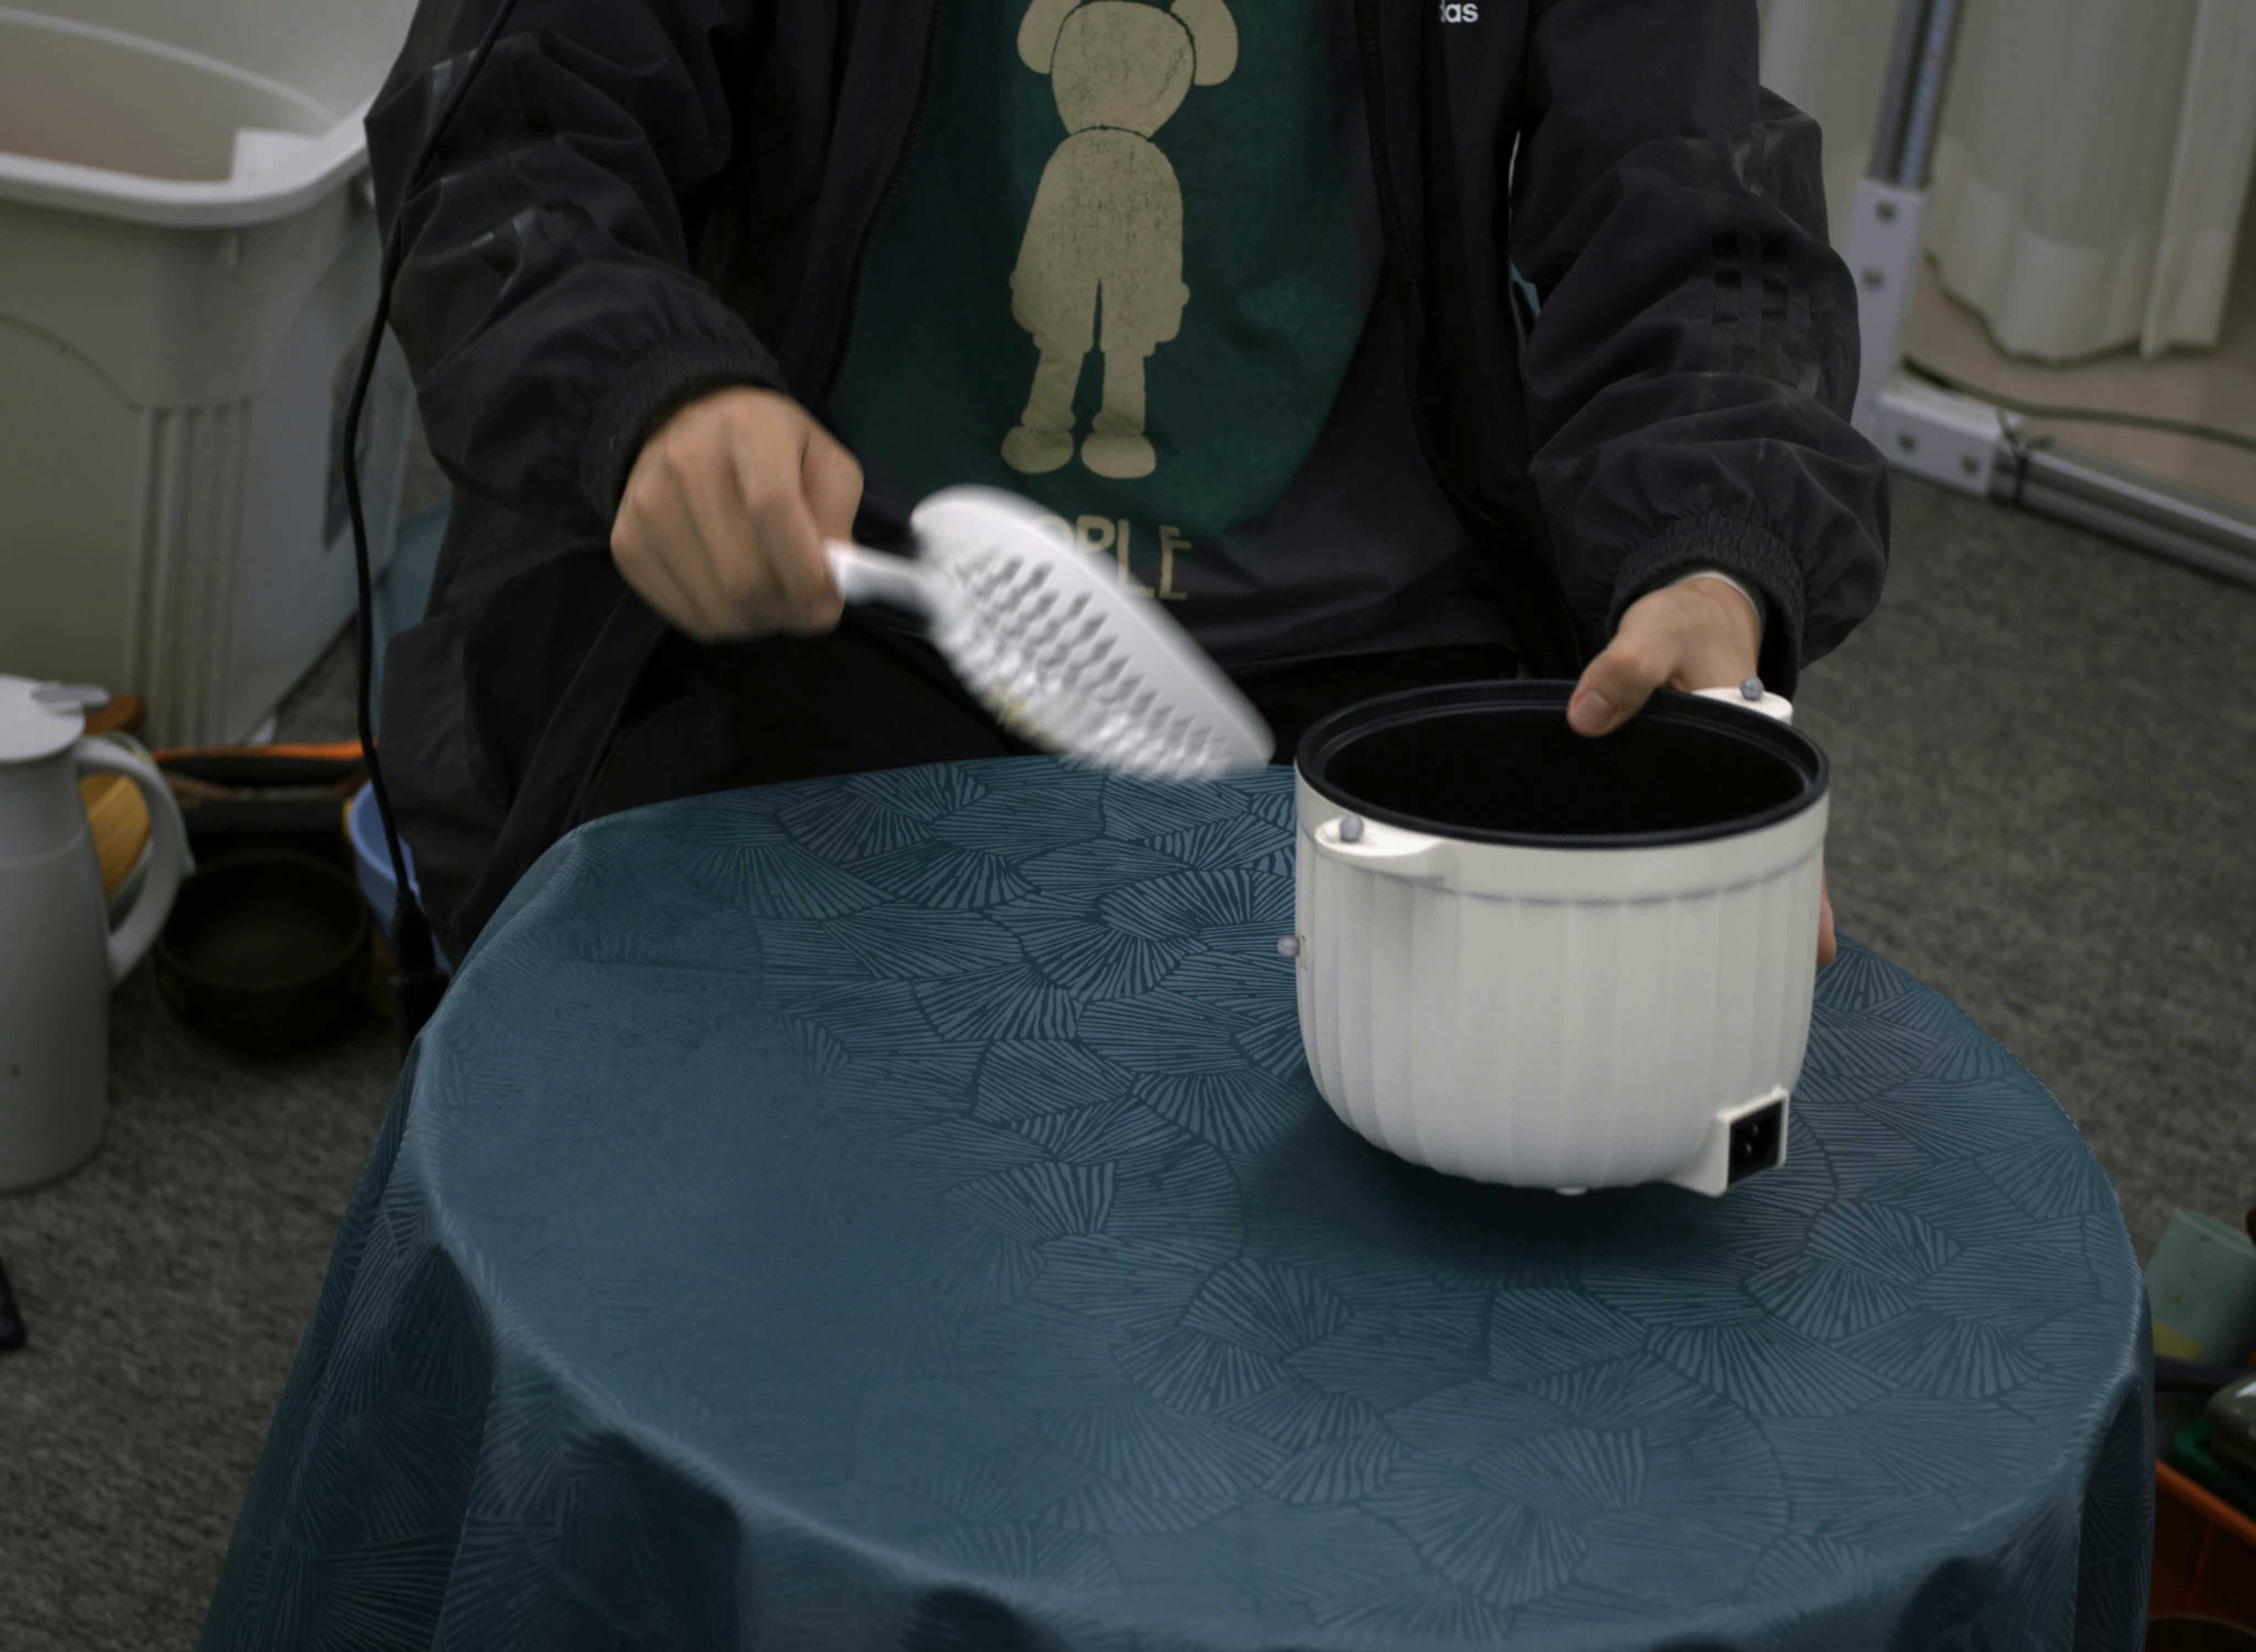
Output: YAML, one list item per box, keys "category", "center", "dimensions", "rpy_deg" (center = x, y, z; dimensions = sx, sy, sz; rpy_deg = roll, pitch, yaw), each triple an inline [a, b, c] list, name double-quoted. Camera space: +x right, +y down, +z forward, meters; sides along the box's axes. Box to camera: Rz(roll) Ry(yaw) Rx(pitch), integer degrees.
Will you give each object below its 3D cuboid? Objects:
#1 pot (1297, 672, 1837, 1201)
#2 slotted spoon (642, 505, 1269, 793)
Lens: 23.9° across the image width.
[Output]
- category: "pot"
  center: [0.142, 0.038, 1.825]
  dimensions: [0.192, 0.142, 0.239]
  rpy_deg: [21, 26, 37]
- category: "slotted spoon"
  center: [-0.075, -0.067, 1.813]
  dimensions: [0.050, 0.136, 0.350]
  rpy_deg: [-51, 29, -9]
